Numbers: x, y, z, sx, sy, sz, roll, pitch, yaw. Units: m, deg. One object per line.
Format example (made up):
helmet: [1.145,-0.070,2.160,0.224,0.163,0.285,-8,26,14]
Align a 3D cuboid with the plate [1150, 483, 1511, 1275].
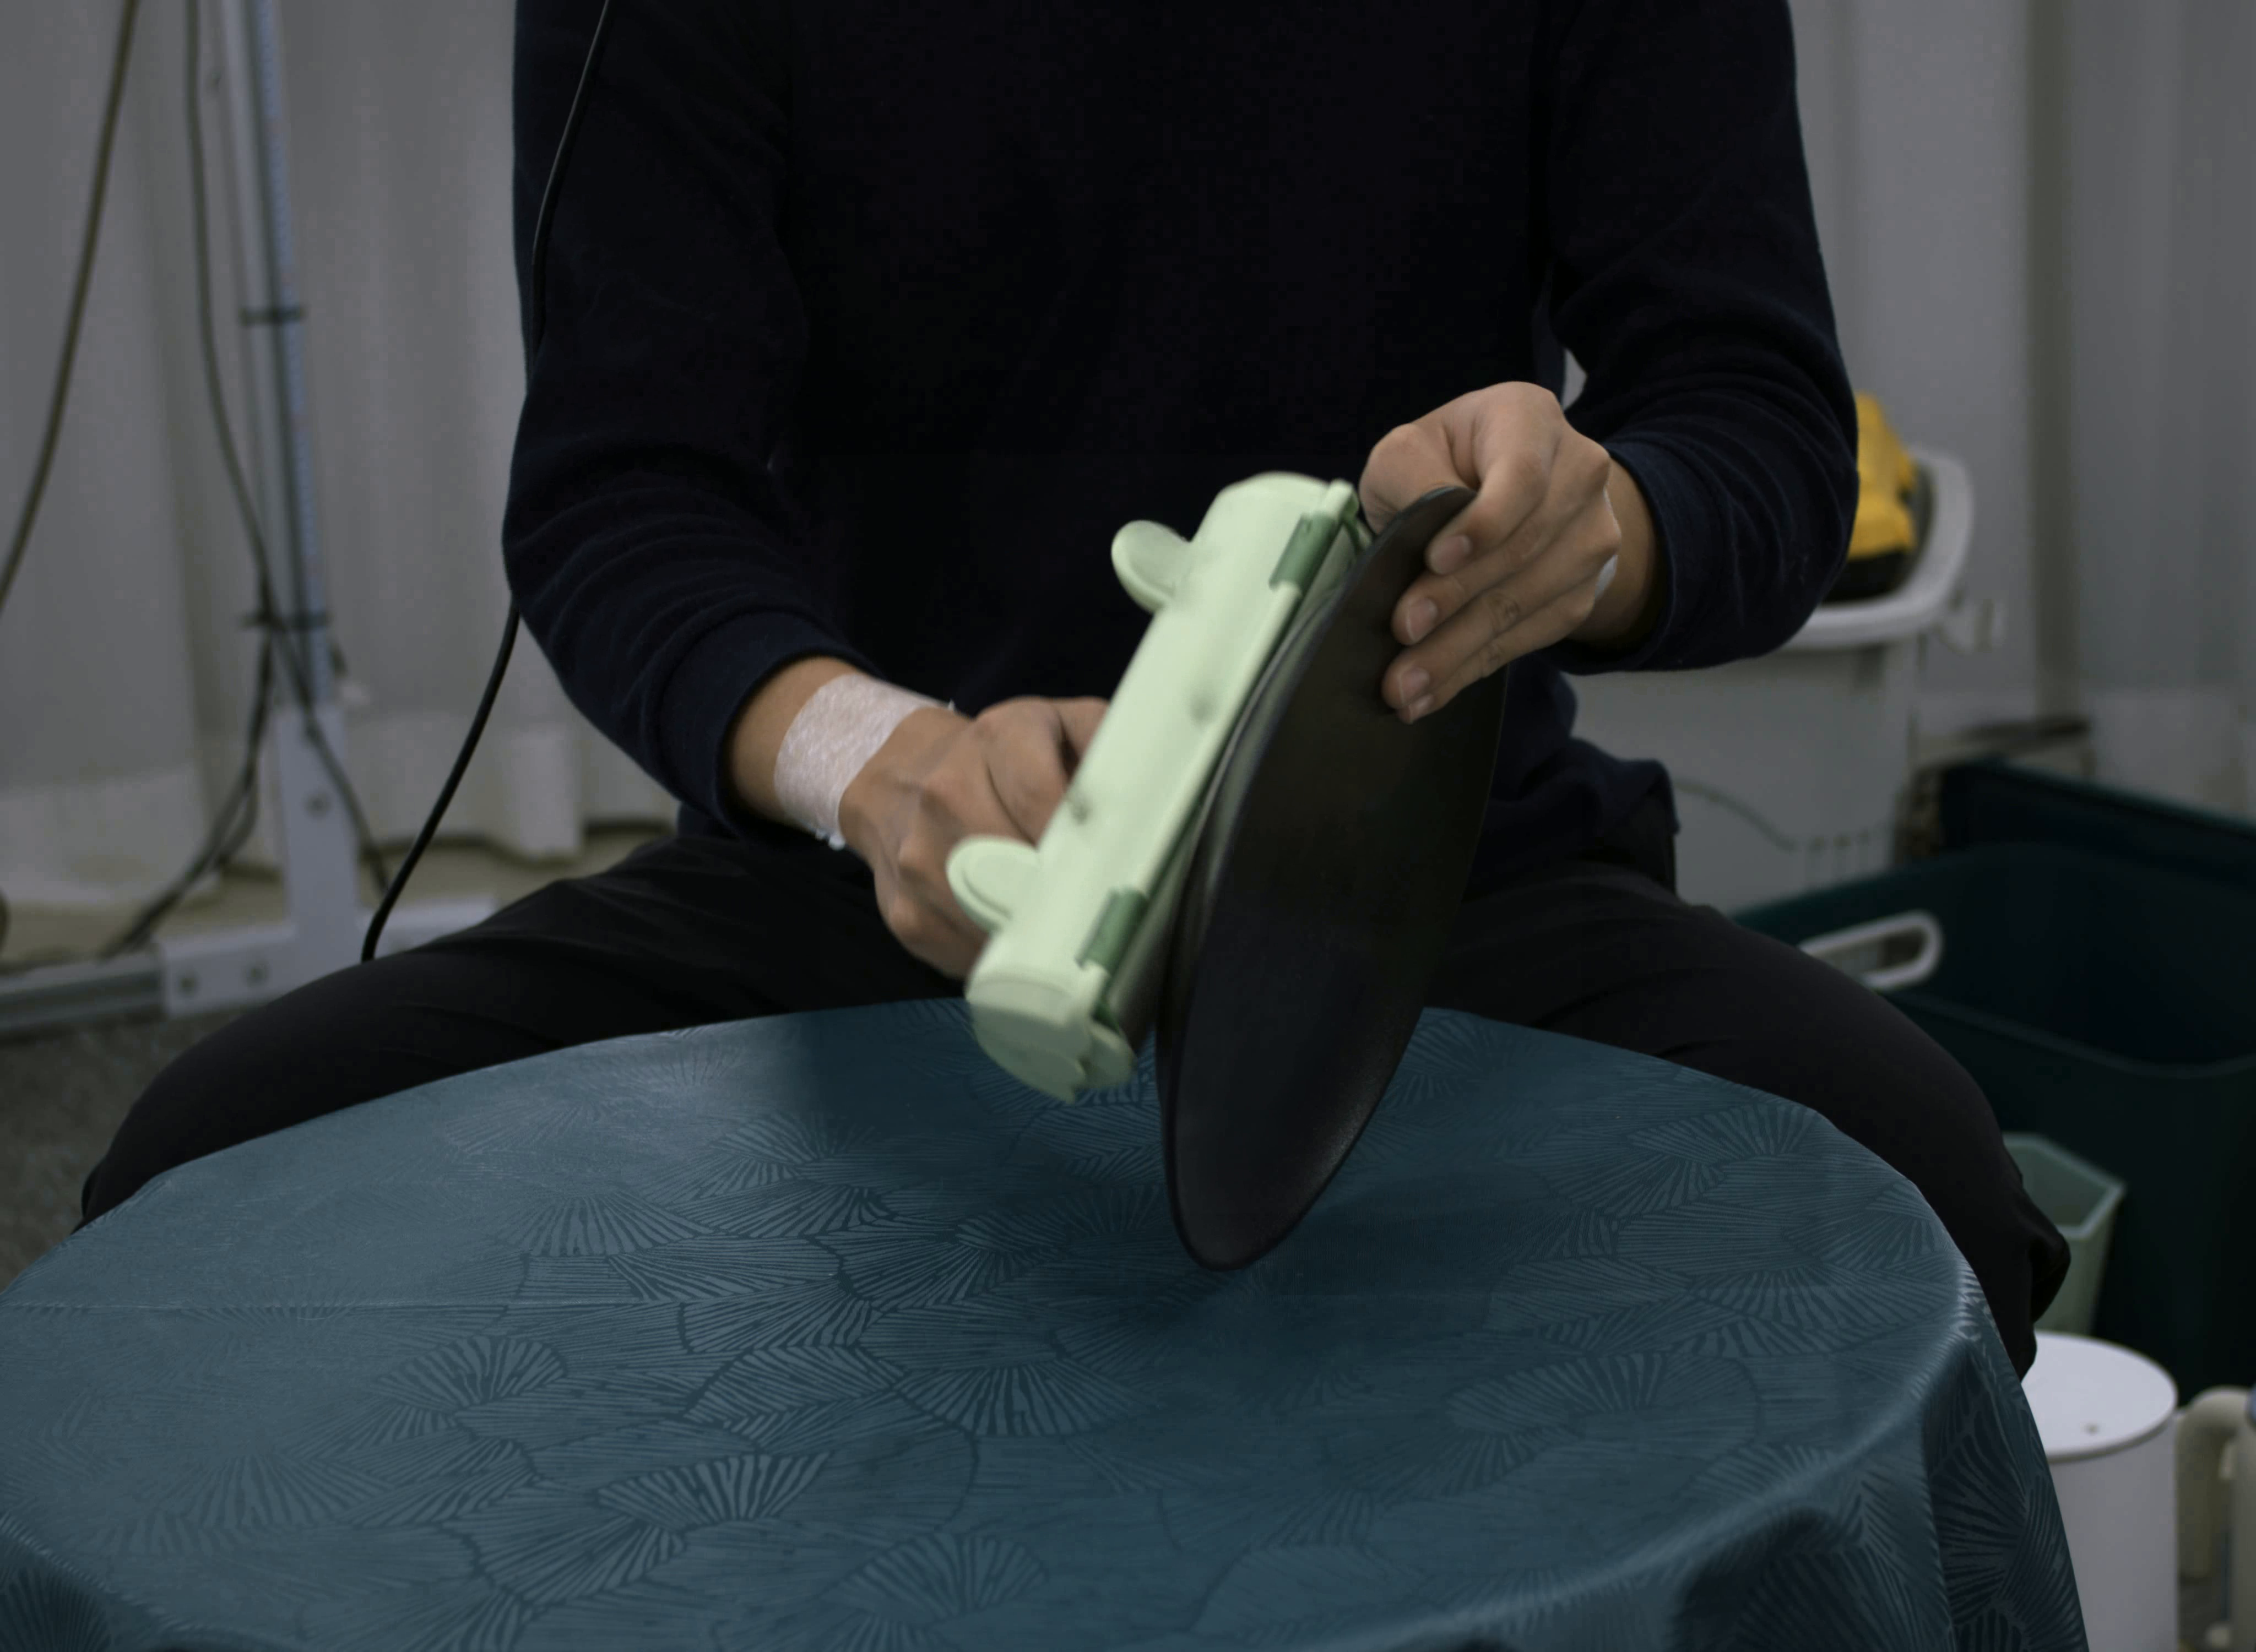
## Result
plate: [0.055,0.014,1.618,0.023,0.243,0.245,18,21,19]

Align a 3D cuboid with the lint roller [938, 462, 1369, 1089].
lint roller: [-0.024,-0.012,1.624,0.183,0.081,0.200,-17,40,54]
